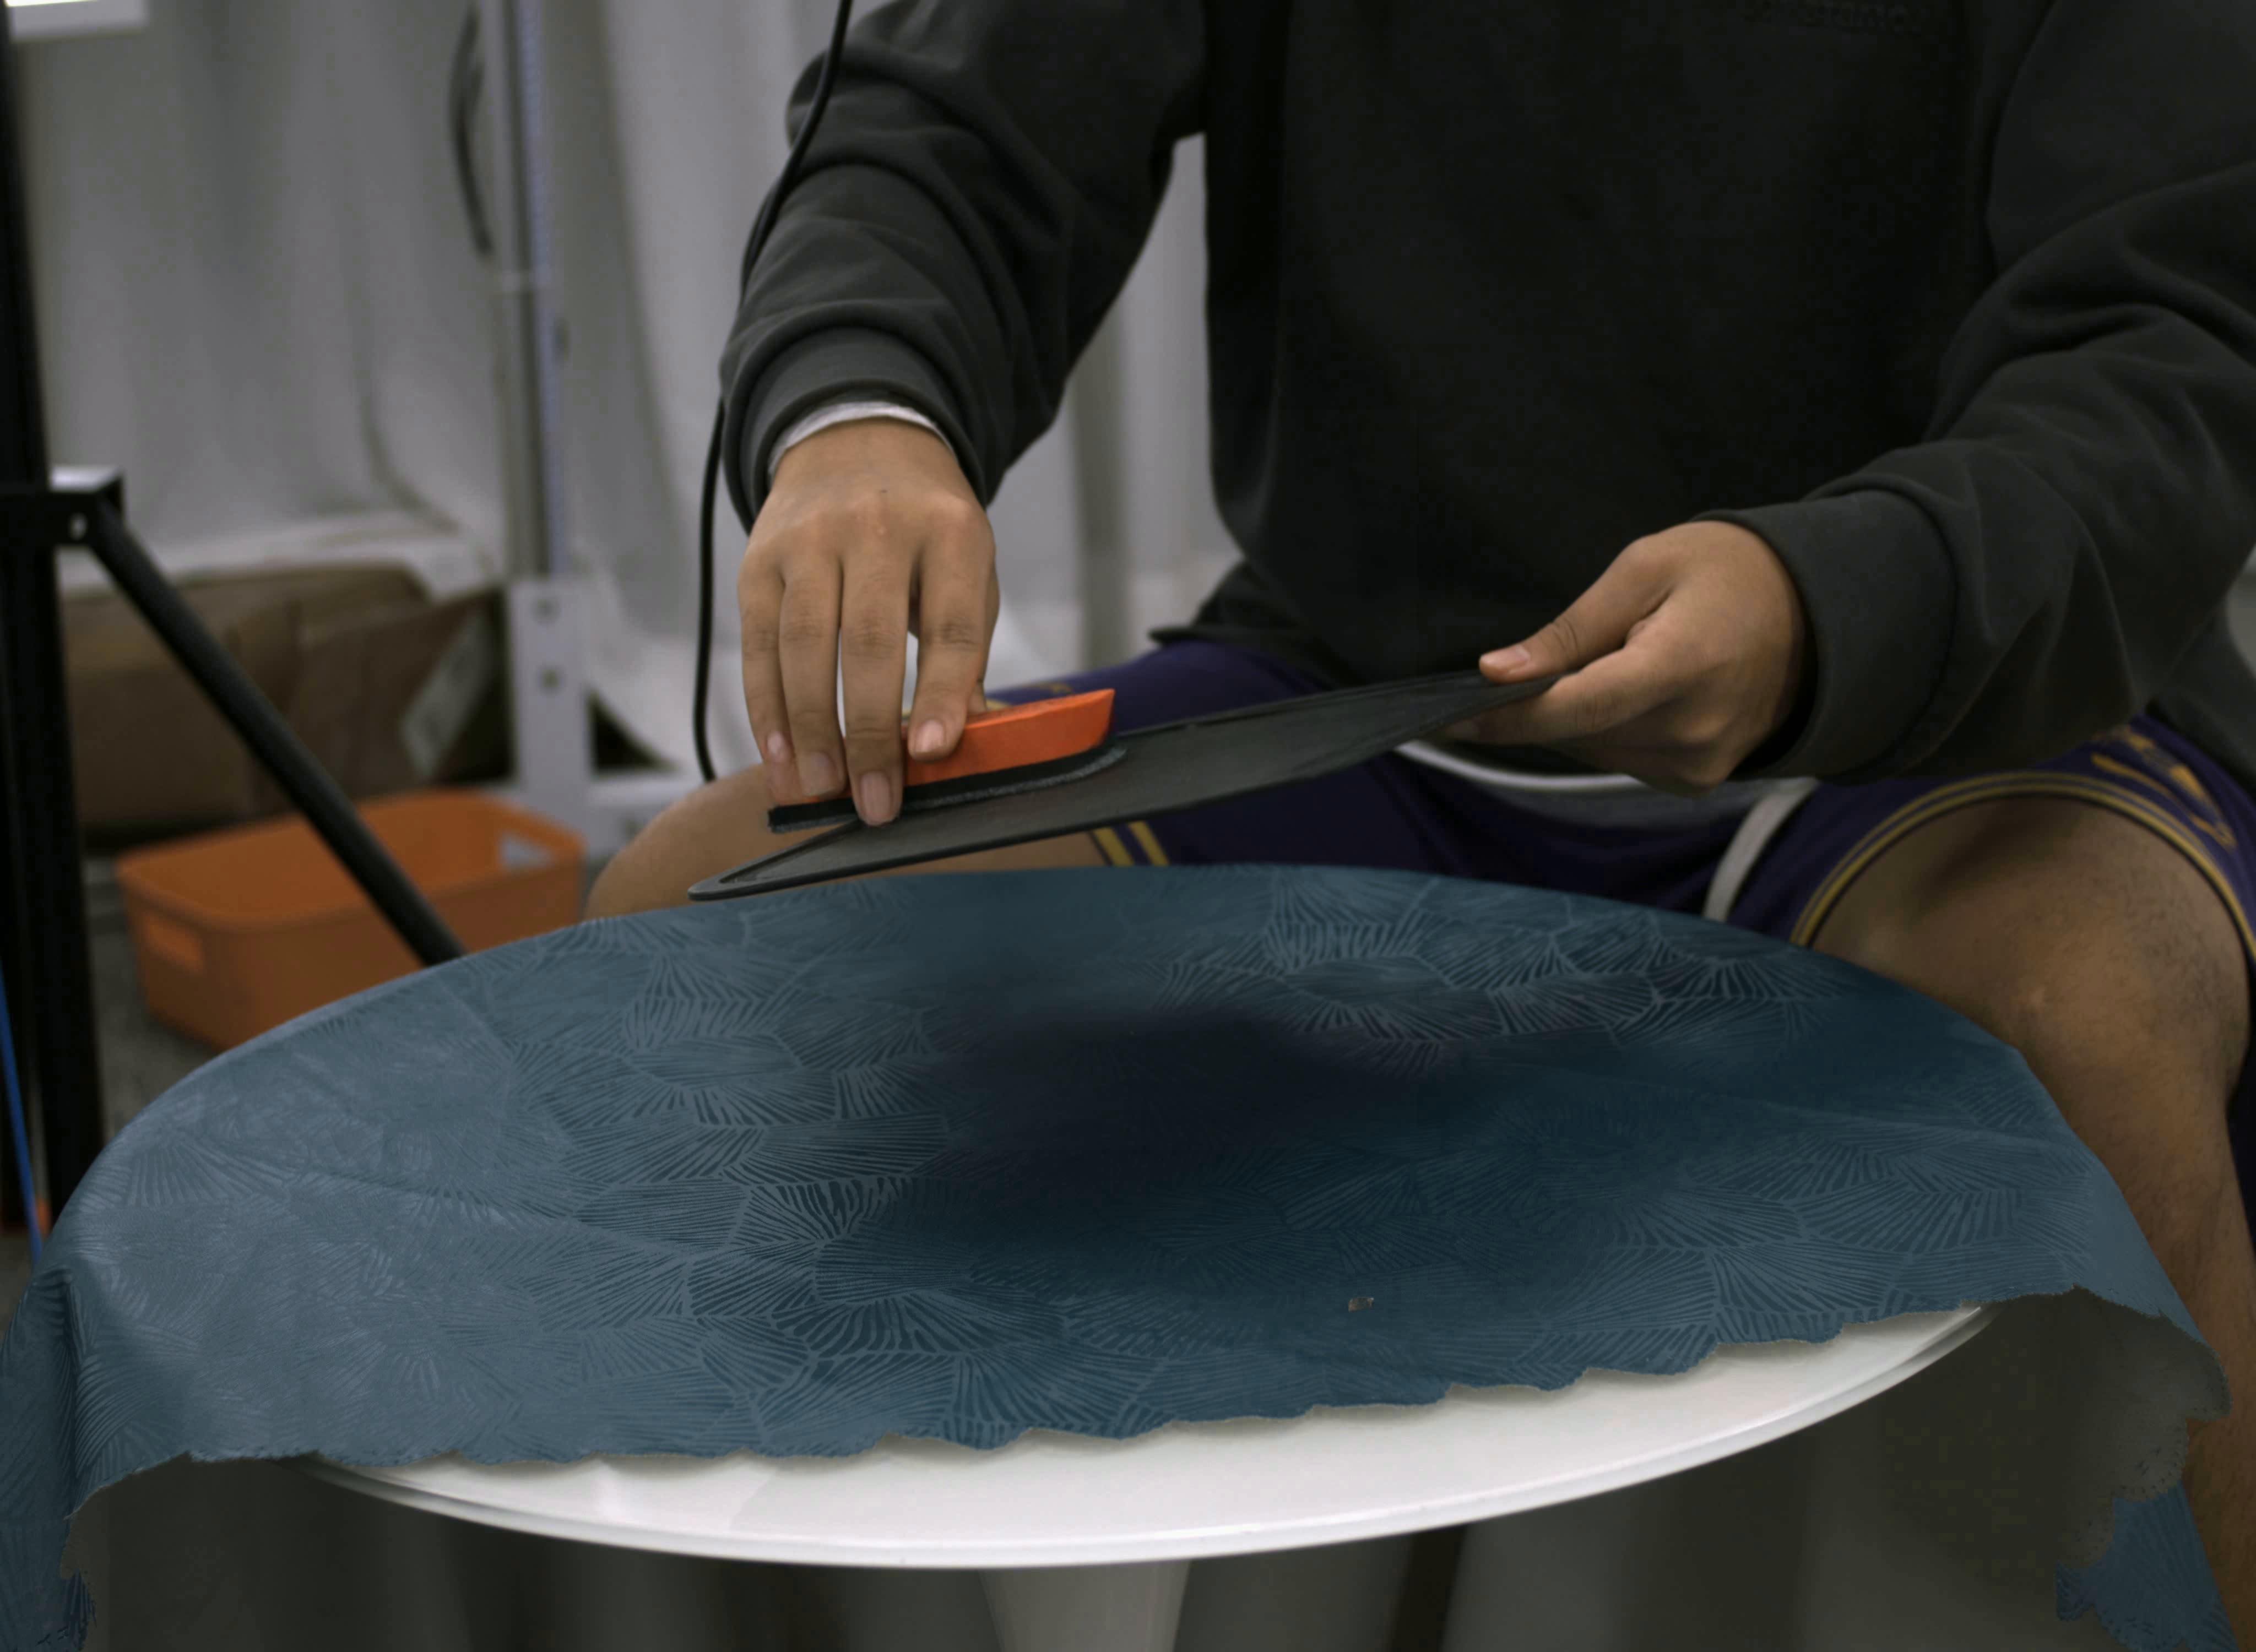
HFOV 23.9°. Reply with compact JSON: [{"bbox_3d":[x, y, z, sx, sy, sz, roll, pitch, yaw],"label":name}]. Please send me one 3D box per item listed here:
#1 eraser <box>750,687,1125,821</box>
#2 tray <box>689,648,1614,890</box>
[{"bbox_3d":[-0.058,-0.022,1.644,0.109,0.023,0.058,-8,6,22],"label":"eraser"},{"bbox_3d":[0.016,-0.020,1.604,0.214,0.010,0.320,-10,6,26],"label":"tray"}]
